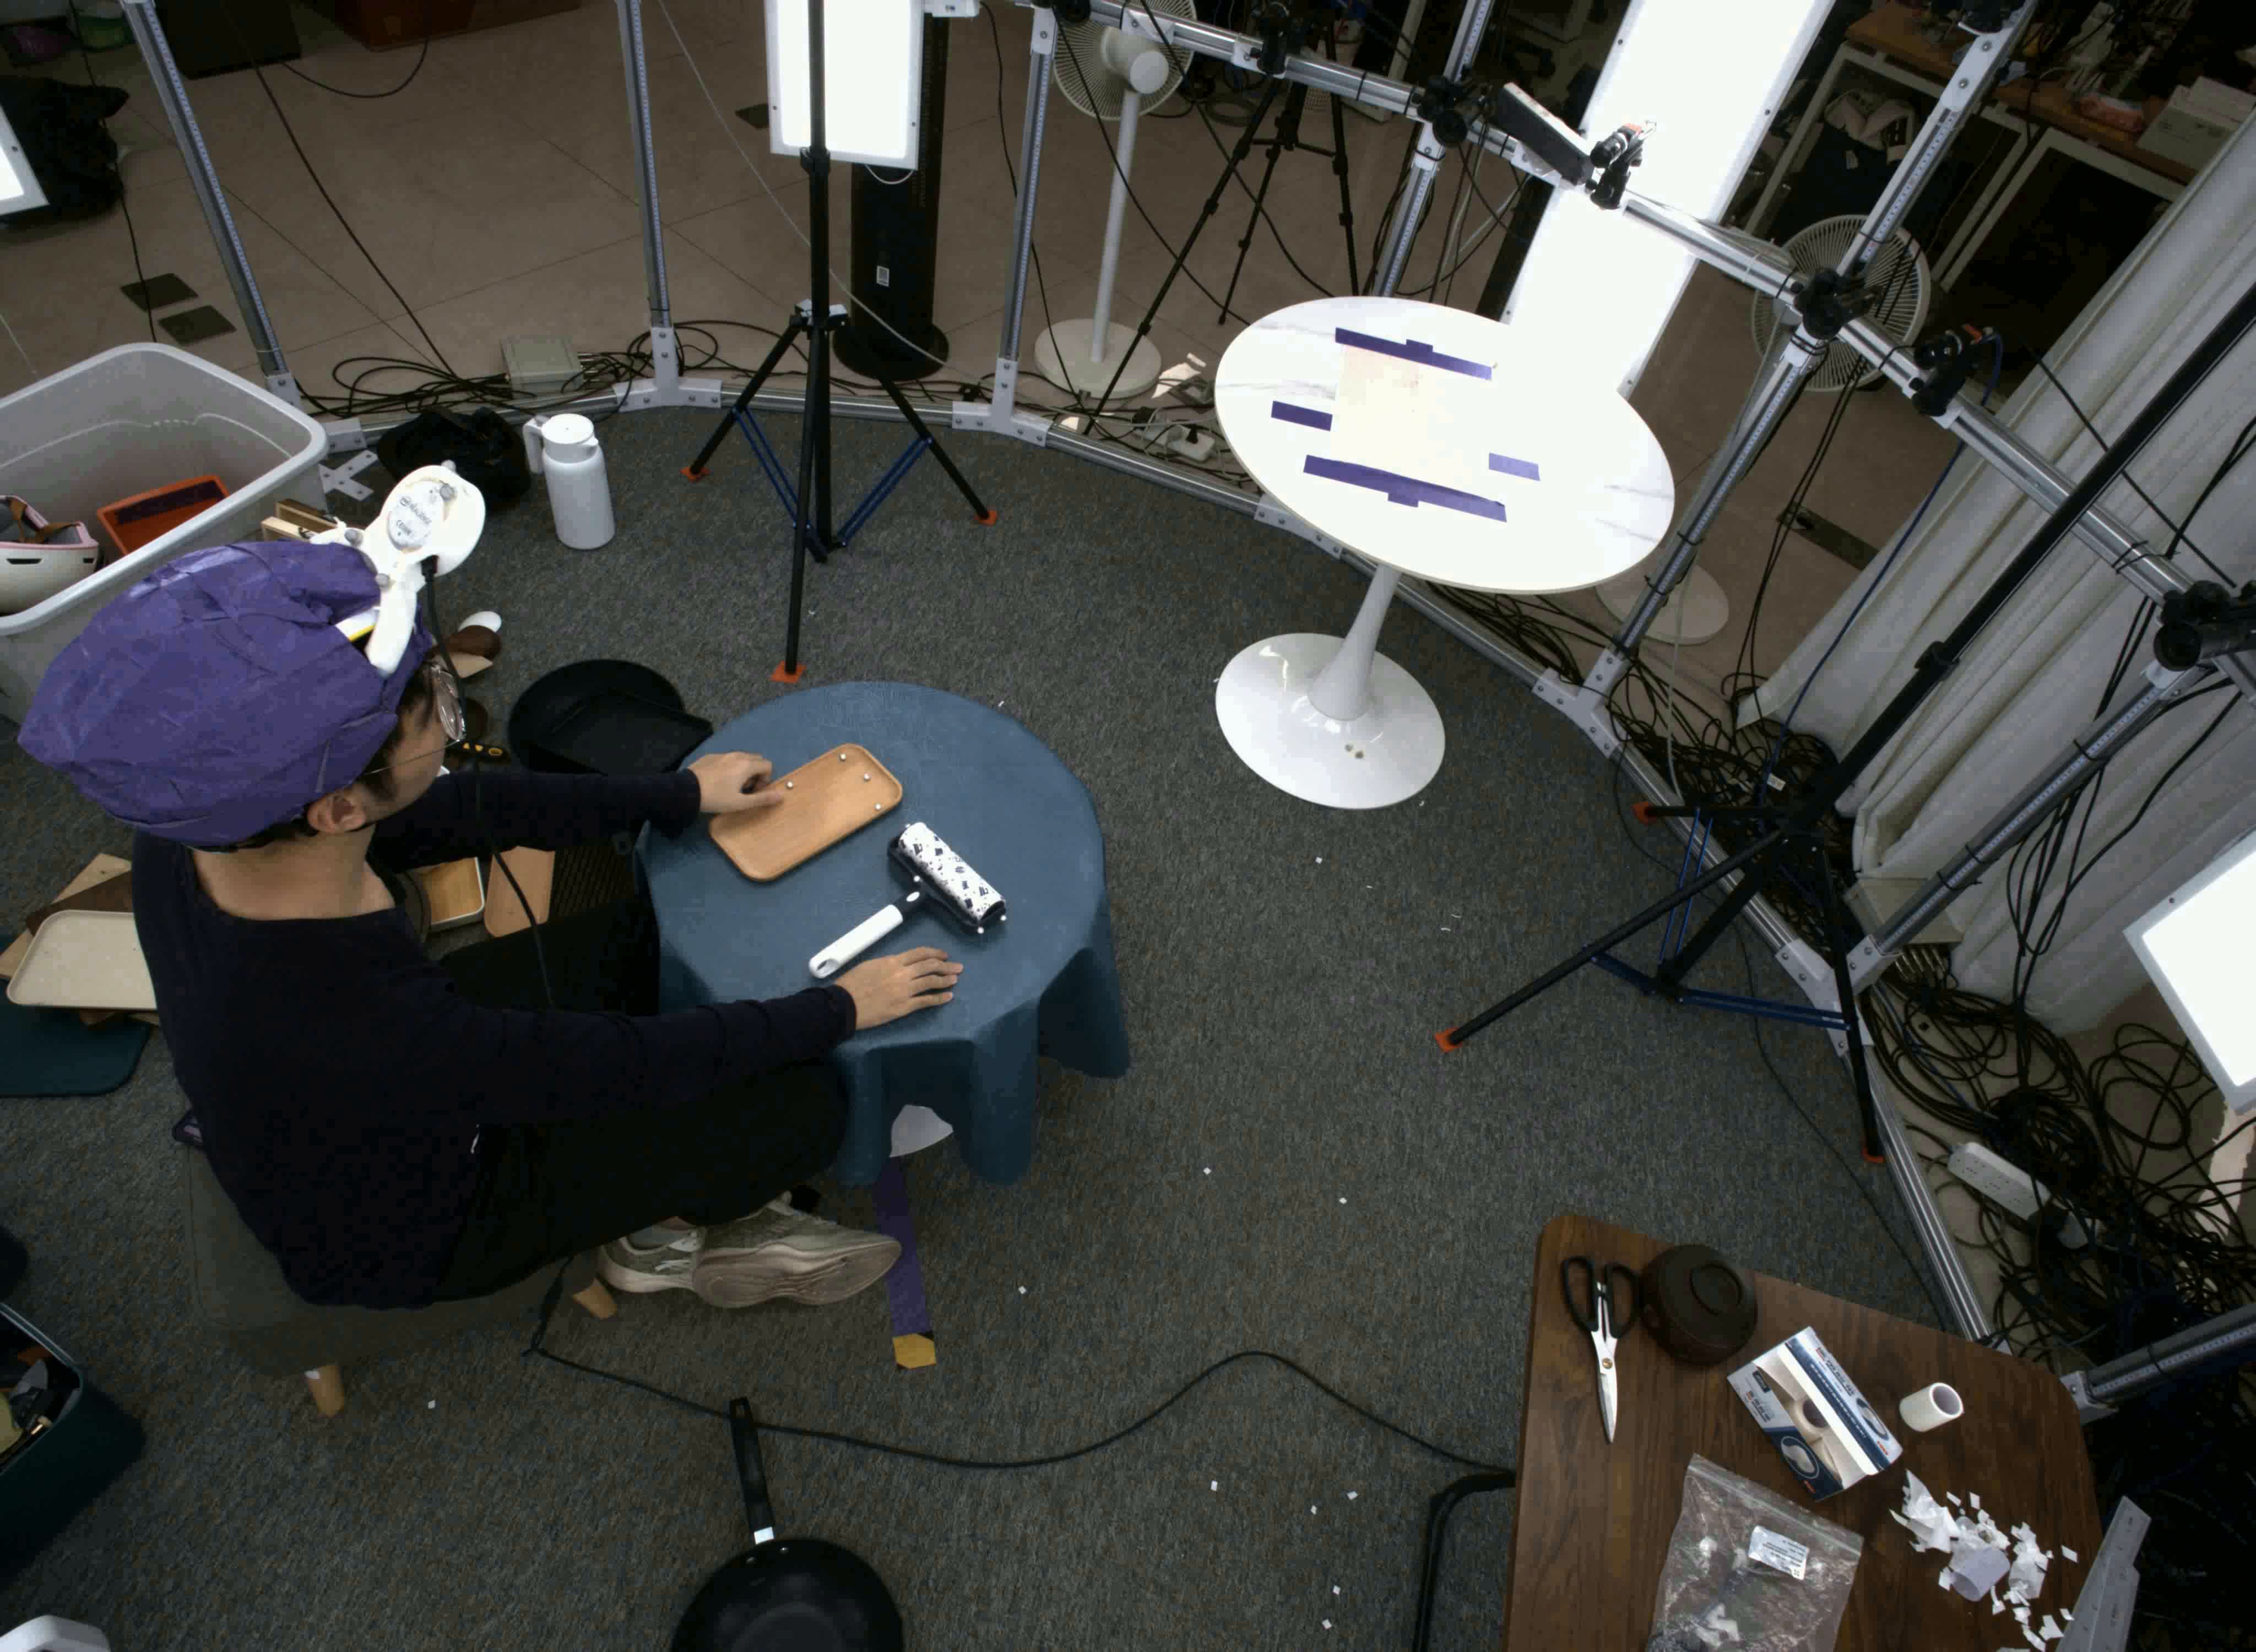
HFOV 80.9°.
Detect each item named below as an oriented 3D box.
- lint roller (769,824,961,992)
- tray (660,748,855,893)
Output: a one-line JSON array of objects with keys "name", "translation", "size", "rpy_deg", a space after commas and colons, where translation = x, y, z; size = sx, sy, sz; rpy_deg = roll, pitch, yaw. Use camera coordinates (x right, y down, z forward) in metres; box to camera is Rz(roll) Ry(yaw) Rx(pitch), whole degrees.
[{"name": "lint roller", "translation": [-0.353, 0.119, 1.639], "size": [0.173, 0.051, 0.247], "rpy_deg": [39, 58, 14]}, {"name": "tray", "translation": [-0.490, -0.011, 1.716], "size": [0.127, 0.023, 0.251], "rpy_deg": [40, 56, 20]}]
